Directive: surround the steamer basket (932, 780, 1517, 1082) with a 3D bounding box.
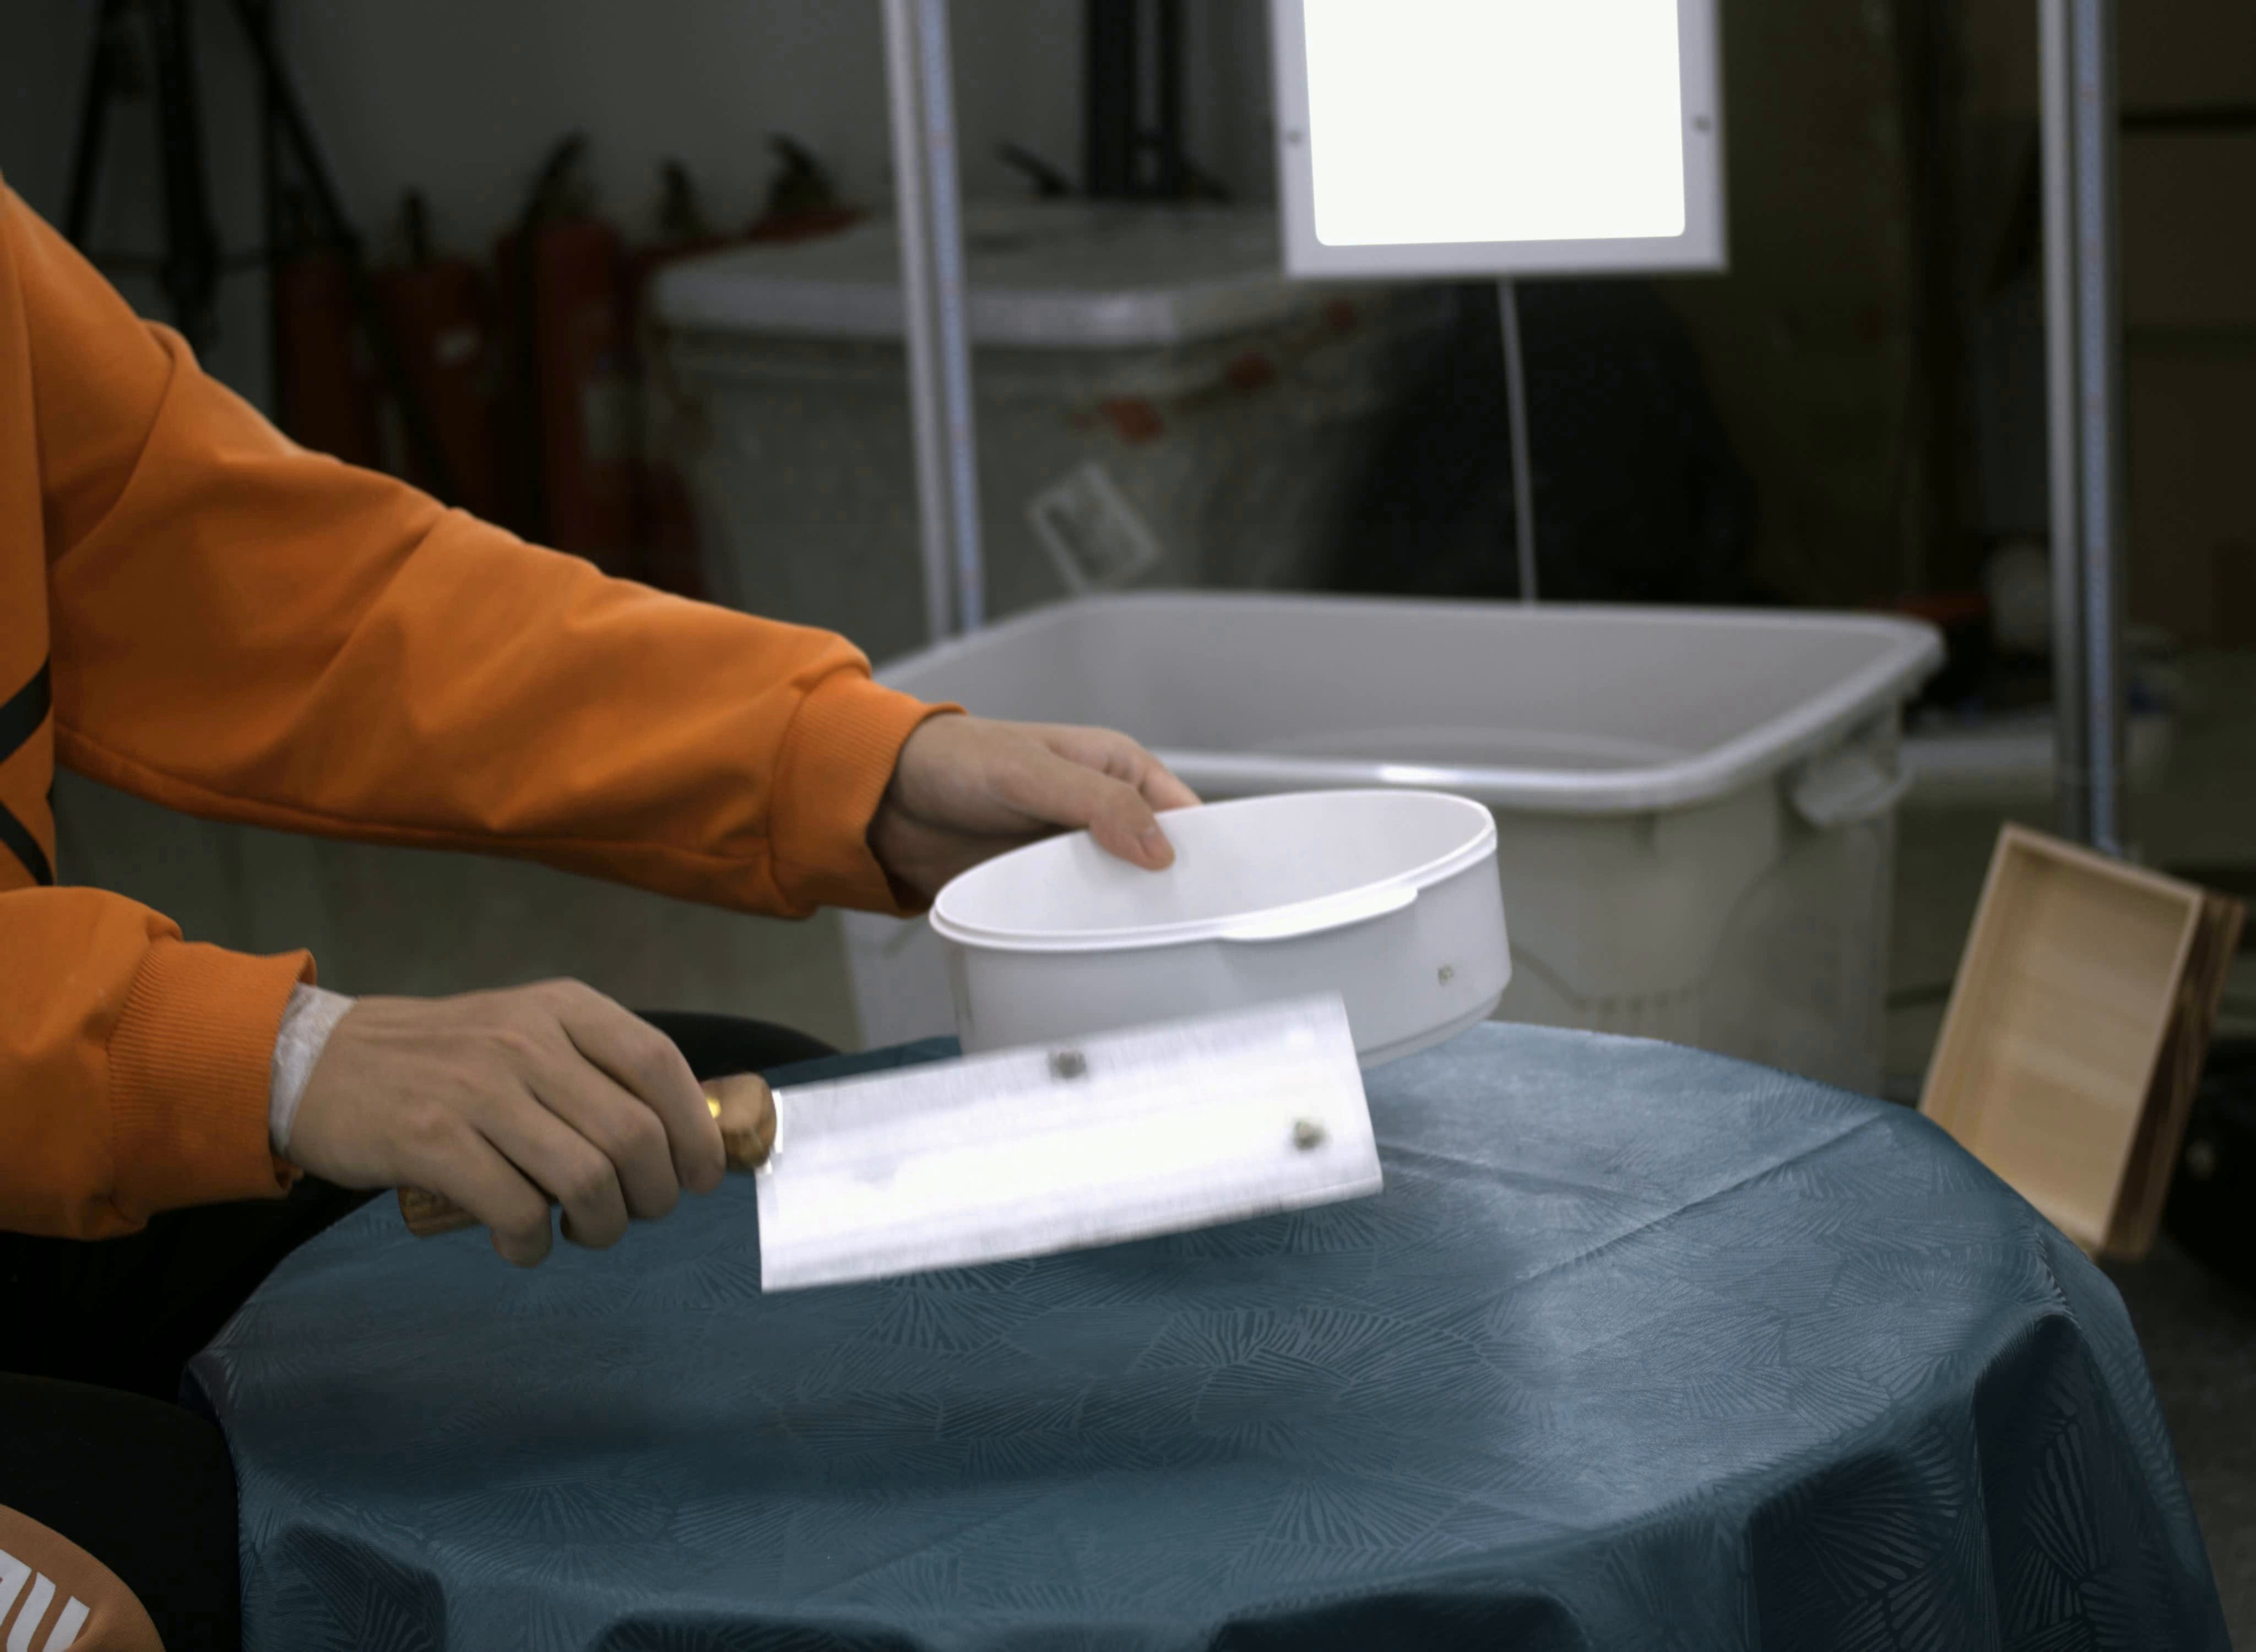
[{"bbox_3d":[0.036,0.041,1.897,0.199,0.069,0.233,-14,14,-17],"label":"steamer basket"}]

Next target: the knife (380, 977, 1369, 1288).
[{"bbox_3d":[-0.078,0.102,1.681,0.305,0.021,0.093,-11,39,3],"label":"knife"}]
